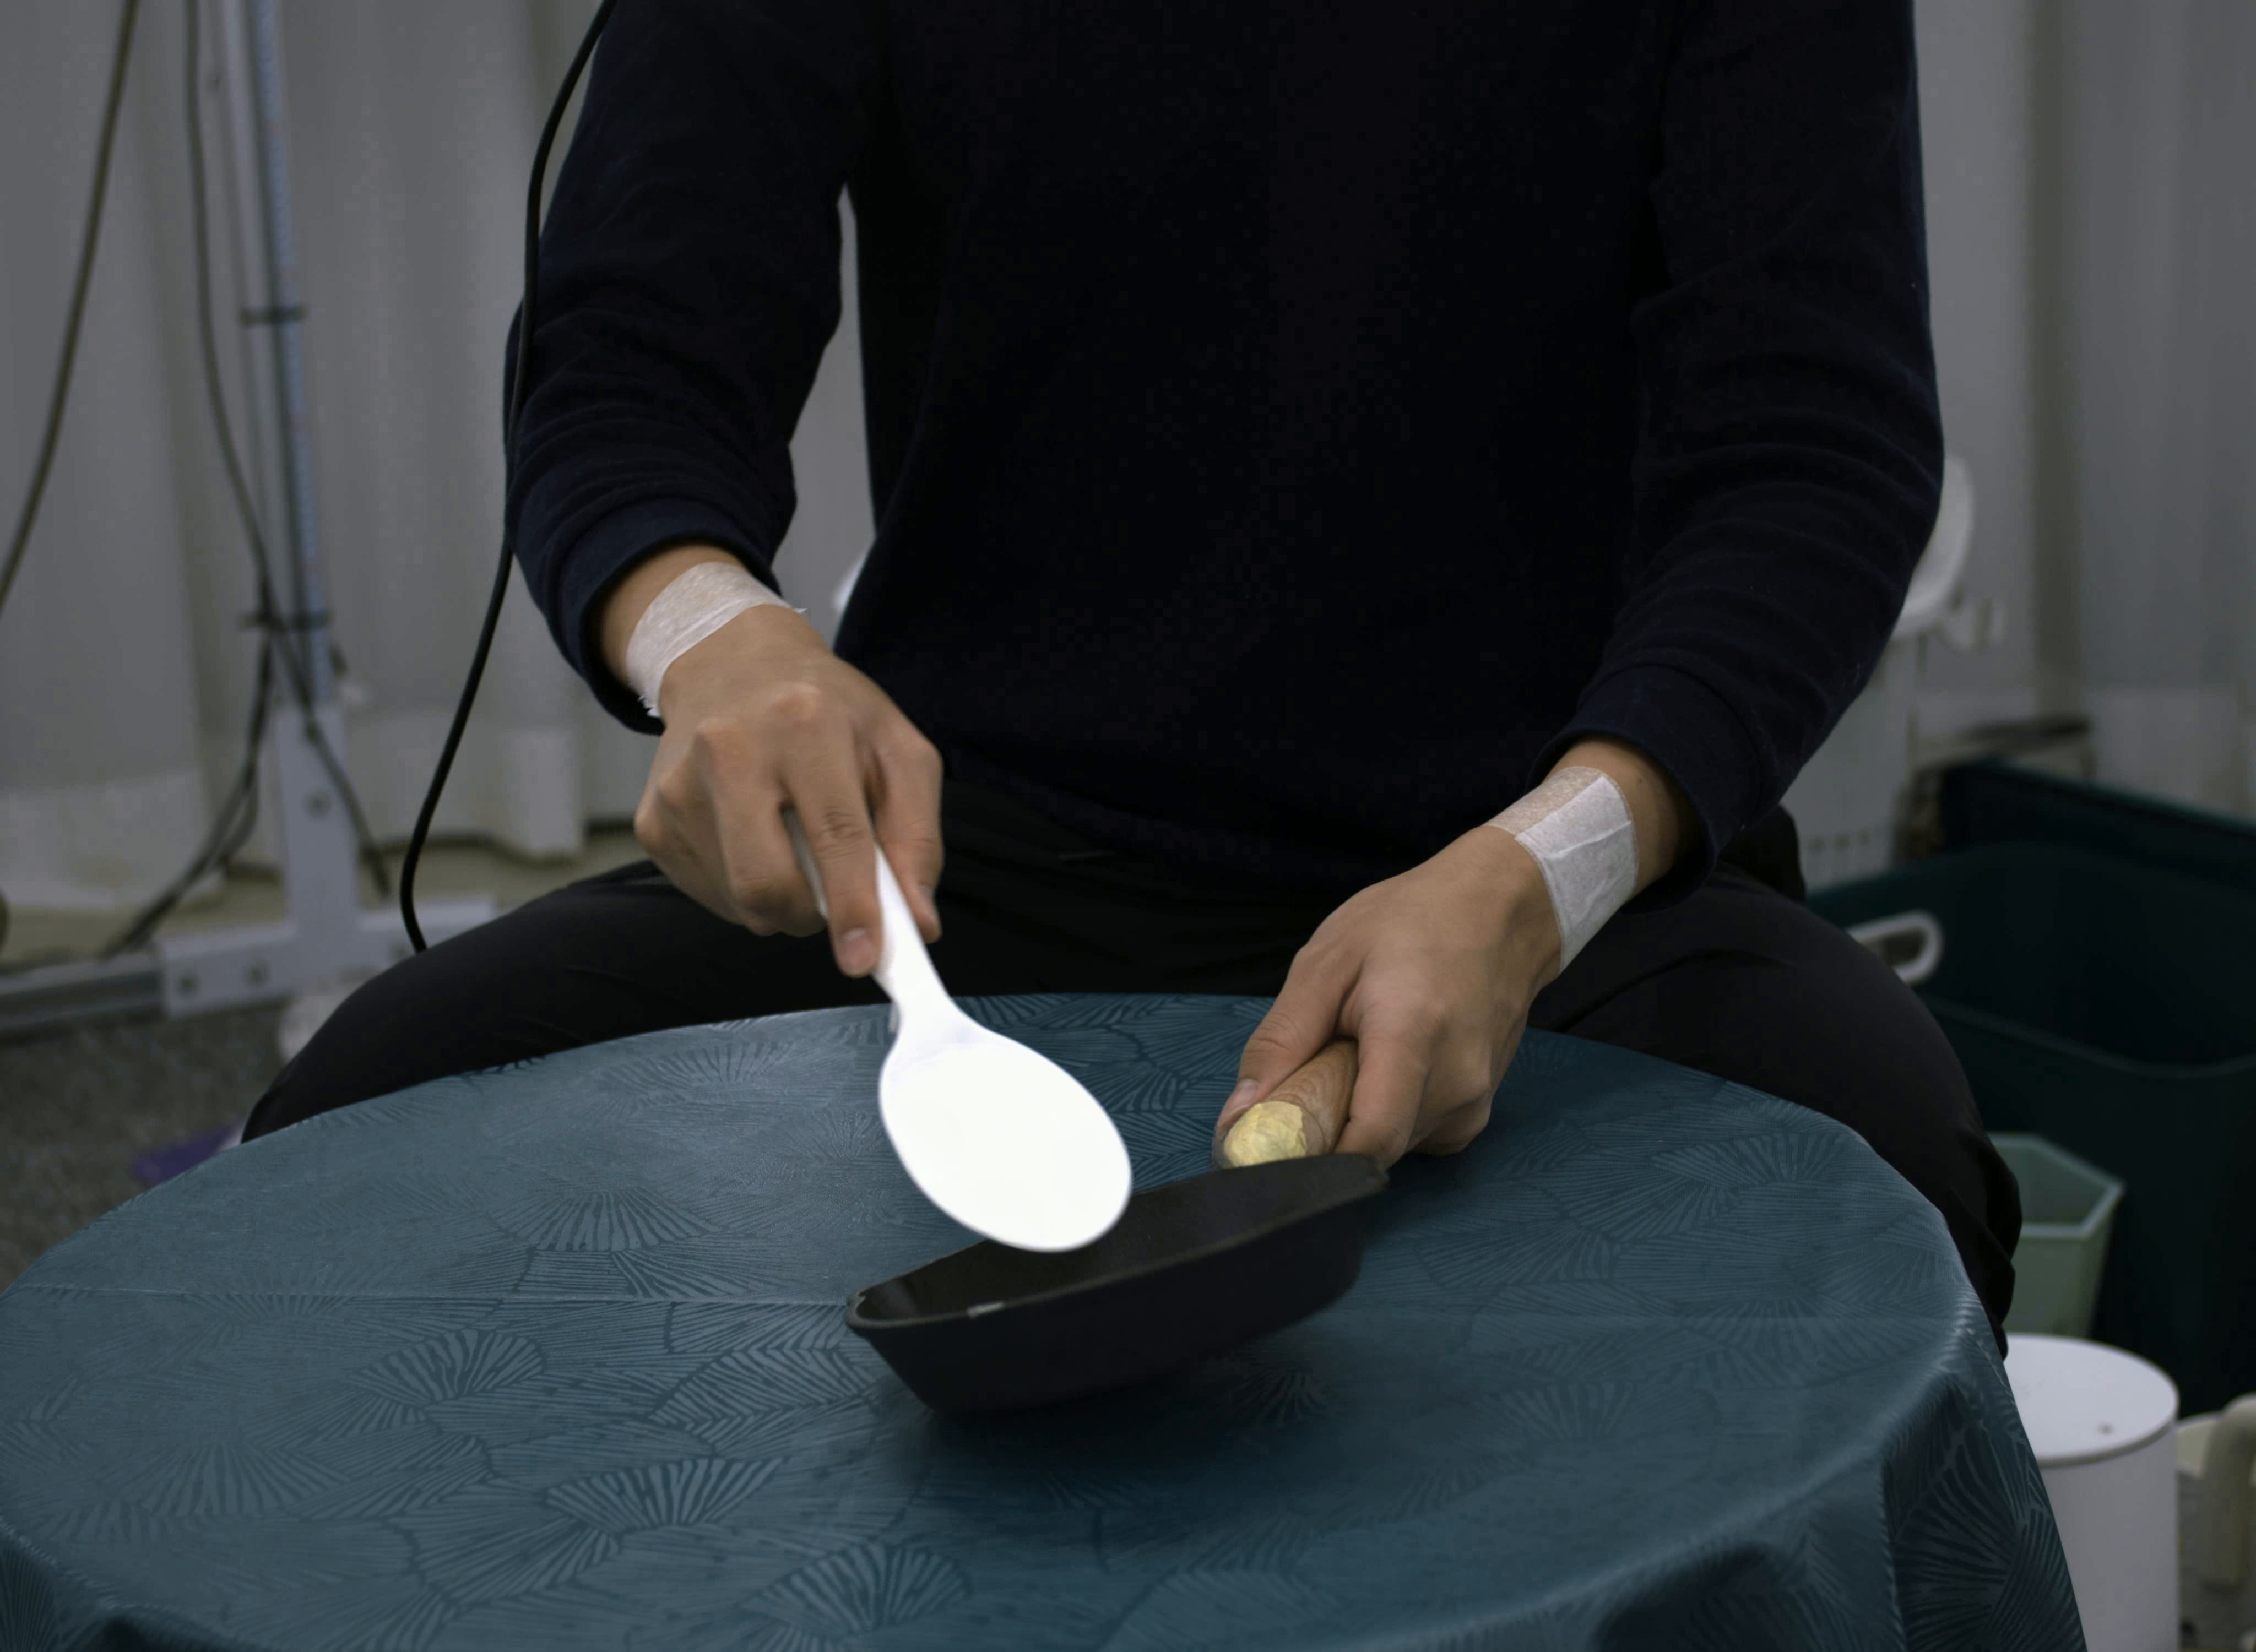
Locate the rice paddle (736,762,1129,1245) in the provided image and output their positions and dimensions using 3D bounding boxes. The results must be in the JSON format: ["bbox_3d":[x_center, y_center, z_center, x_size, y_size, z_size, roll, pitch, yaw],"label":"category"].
[{"bbox_3d":[-0.061,0.054,1.621,0.068,0.029,0.208,-10,42,-26],"label":"rice paddle"}]

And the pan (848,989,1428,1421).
[{"bbox_3d":[0.033,0.108,1.606,0.168,0.049,0.324,-13,6,27],"label":"pan"}]
